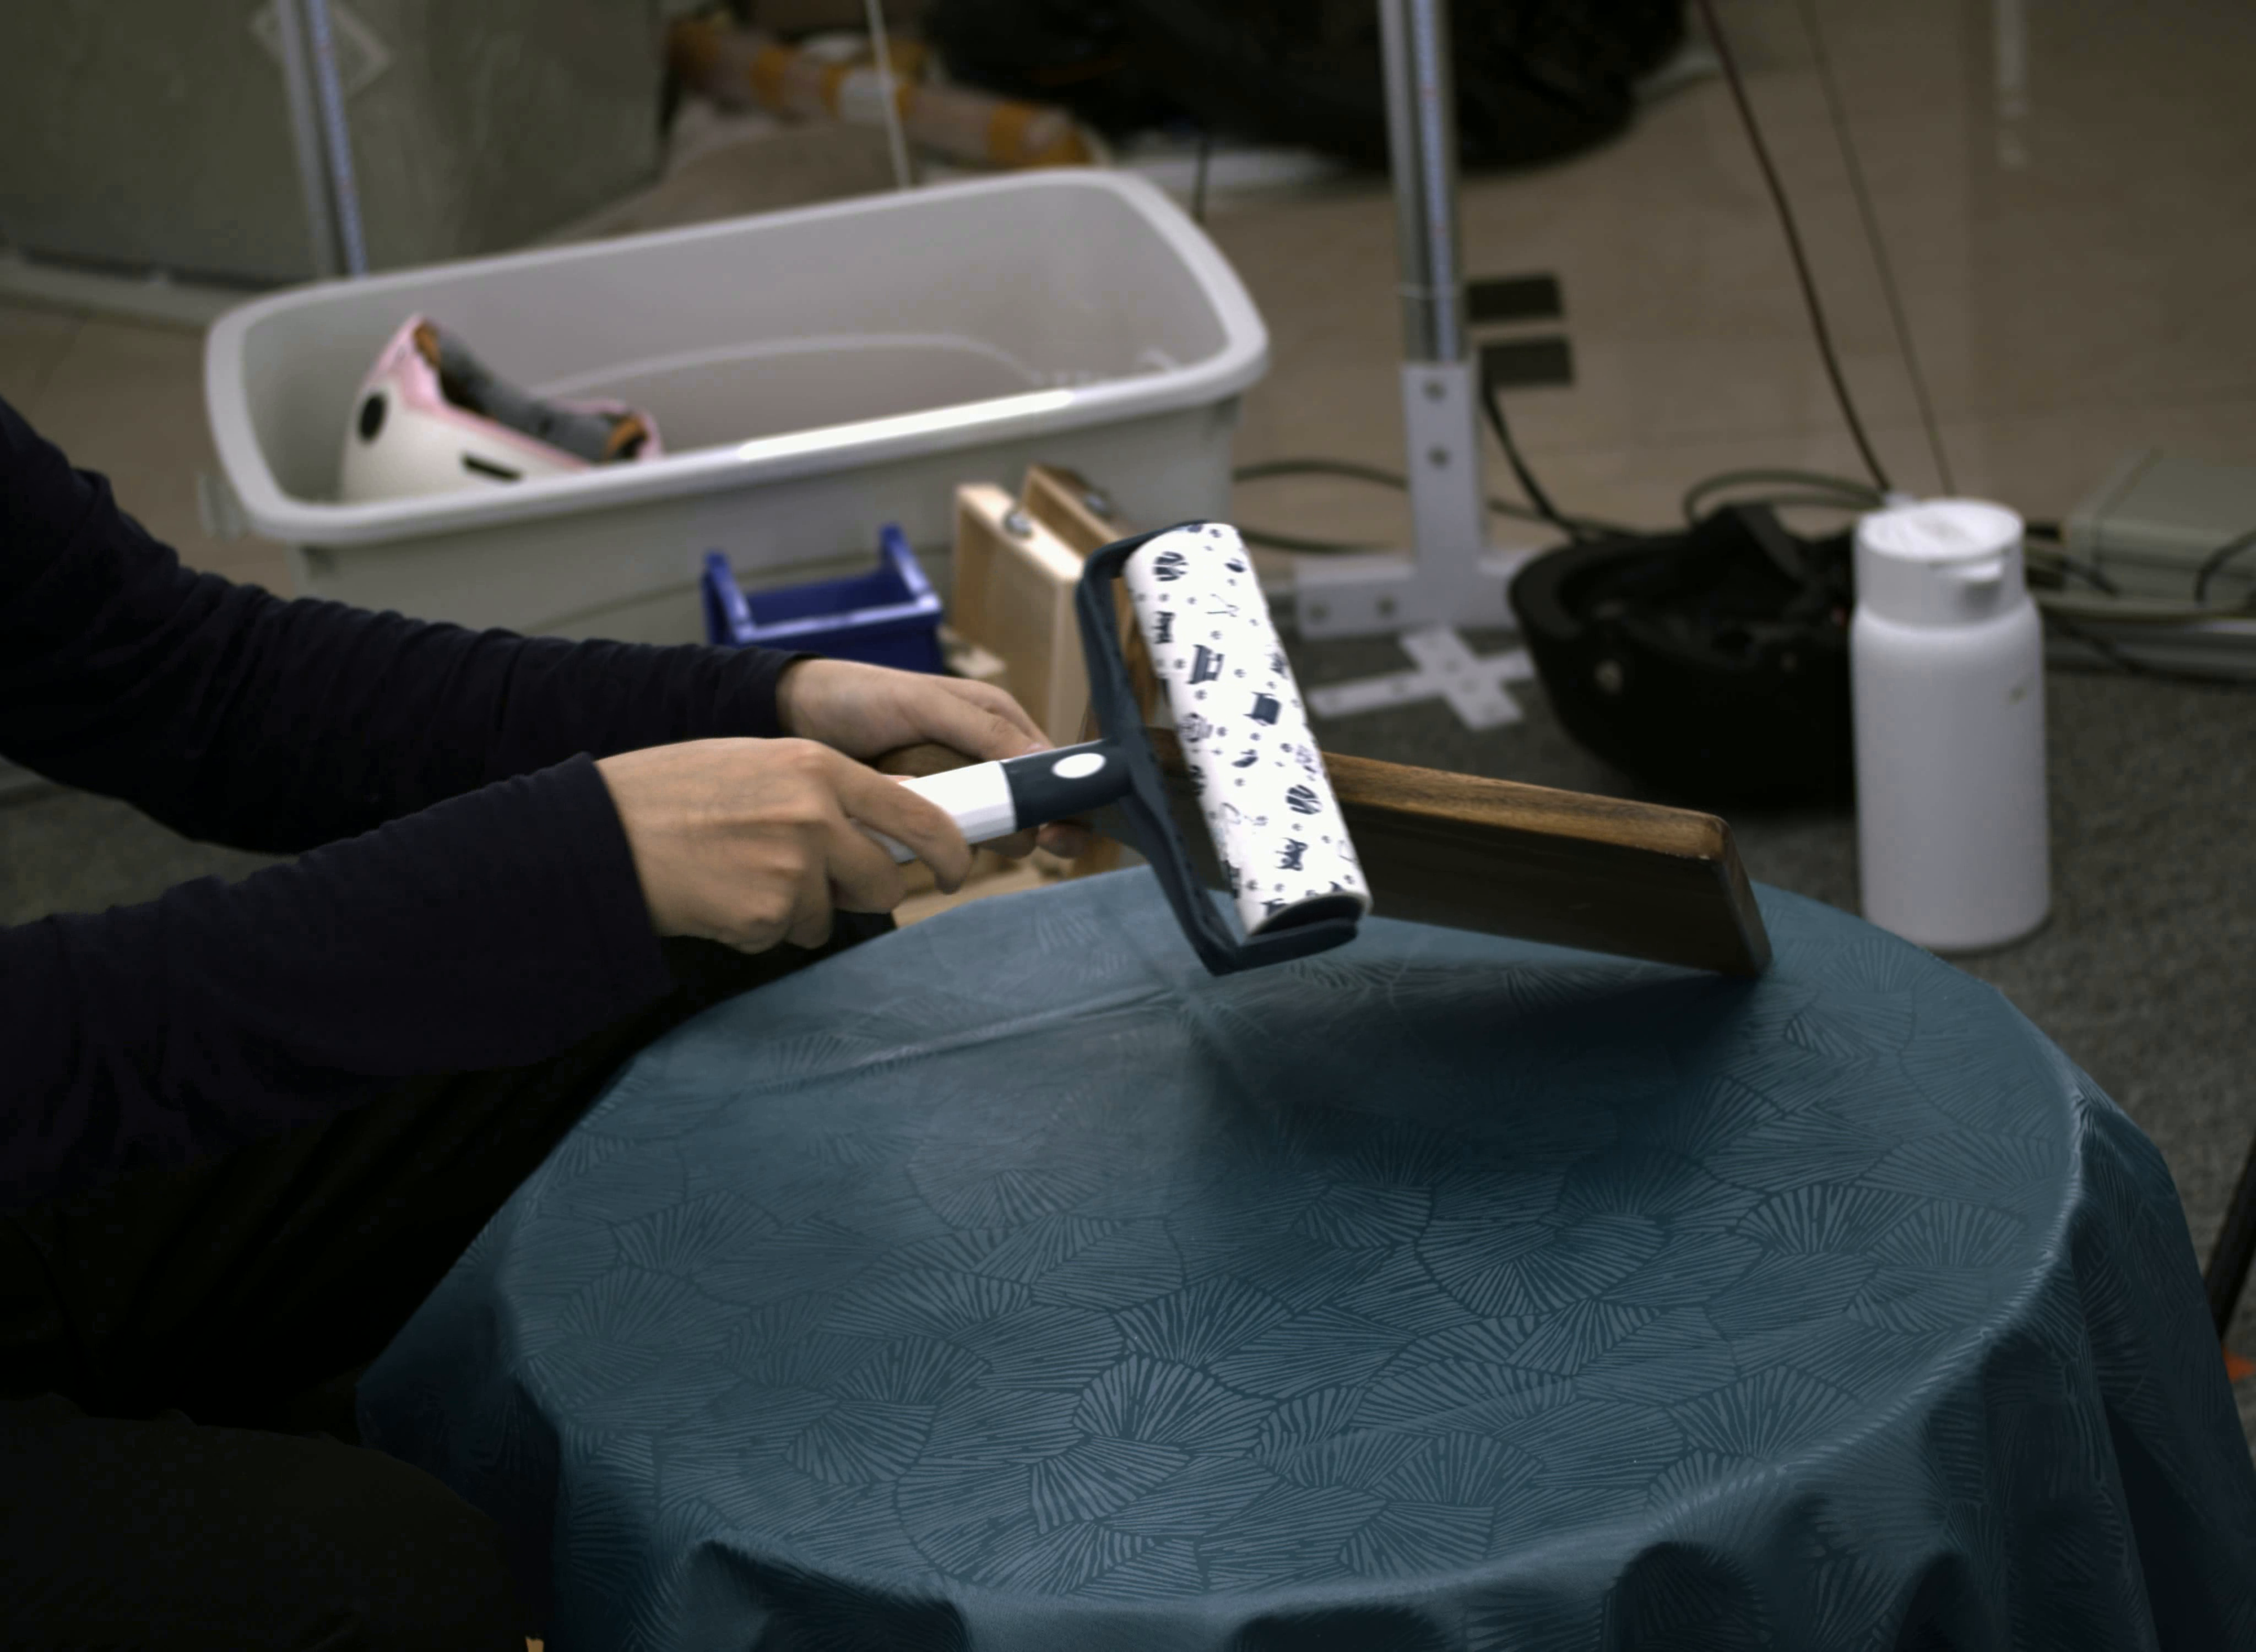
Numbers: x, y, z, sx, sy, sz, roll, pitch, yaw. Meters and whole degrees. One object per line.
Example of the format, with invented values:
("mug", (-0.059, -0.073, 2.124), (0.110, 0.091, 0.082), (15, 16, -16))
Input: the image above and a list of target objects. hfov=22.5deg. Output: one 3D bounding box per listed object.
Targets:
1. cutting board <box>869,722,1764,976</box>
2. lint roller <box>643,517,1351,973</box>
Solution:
("cutting board", (0.069, 0.002, 2.208), (0.351, 0.023, 0.203), (9, -12, 13))
("lint roller", (-0.058, -0.007, 2.076), (0.246, 0.051, 0.174), (-15, 68, -10))
